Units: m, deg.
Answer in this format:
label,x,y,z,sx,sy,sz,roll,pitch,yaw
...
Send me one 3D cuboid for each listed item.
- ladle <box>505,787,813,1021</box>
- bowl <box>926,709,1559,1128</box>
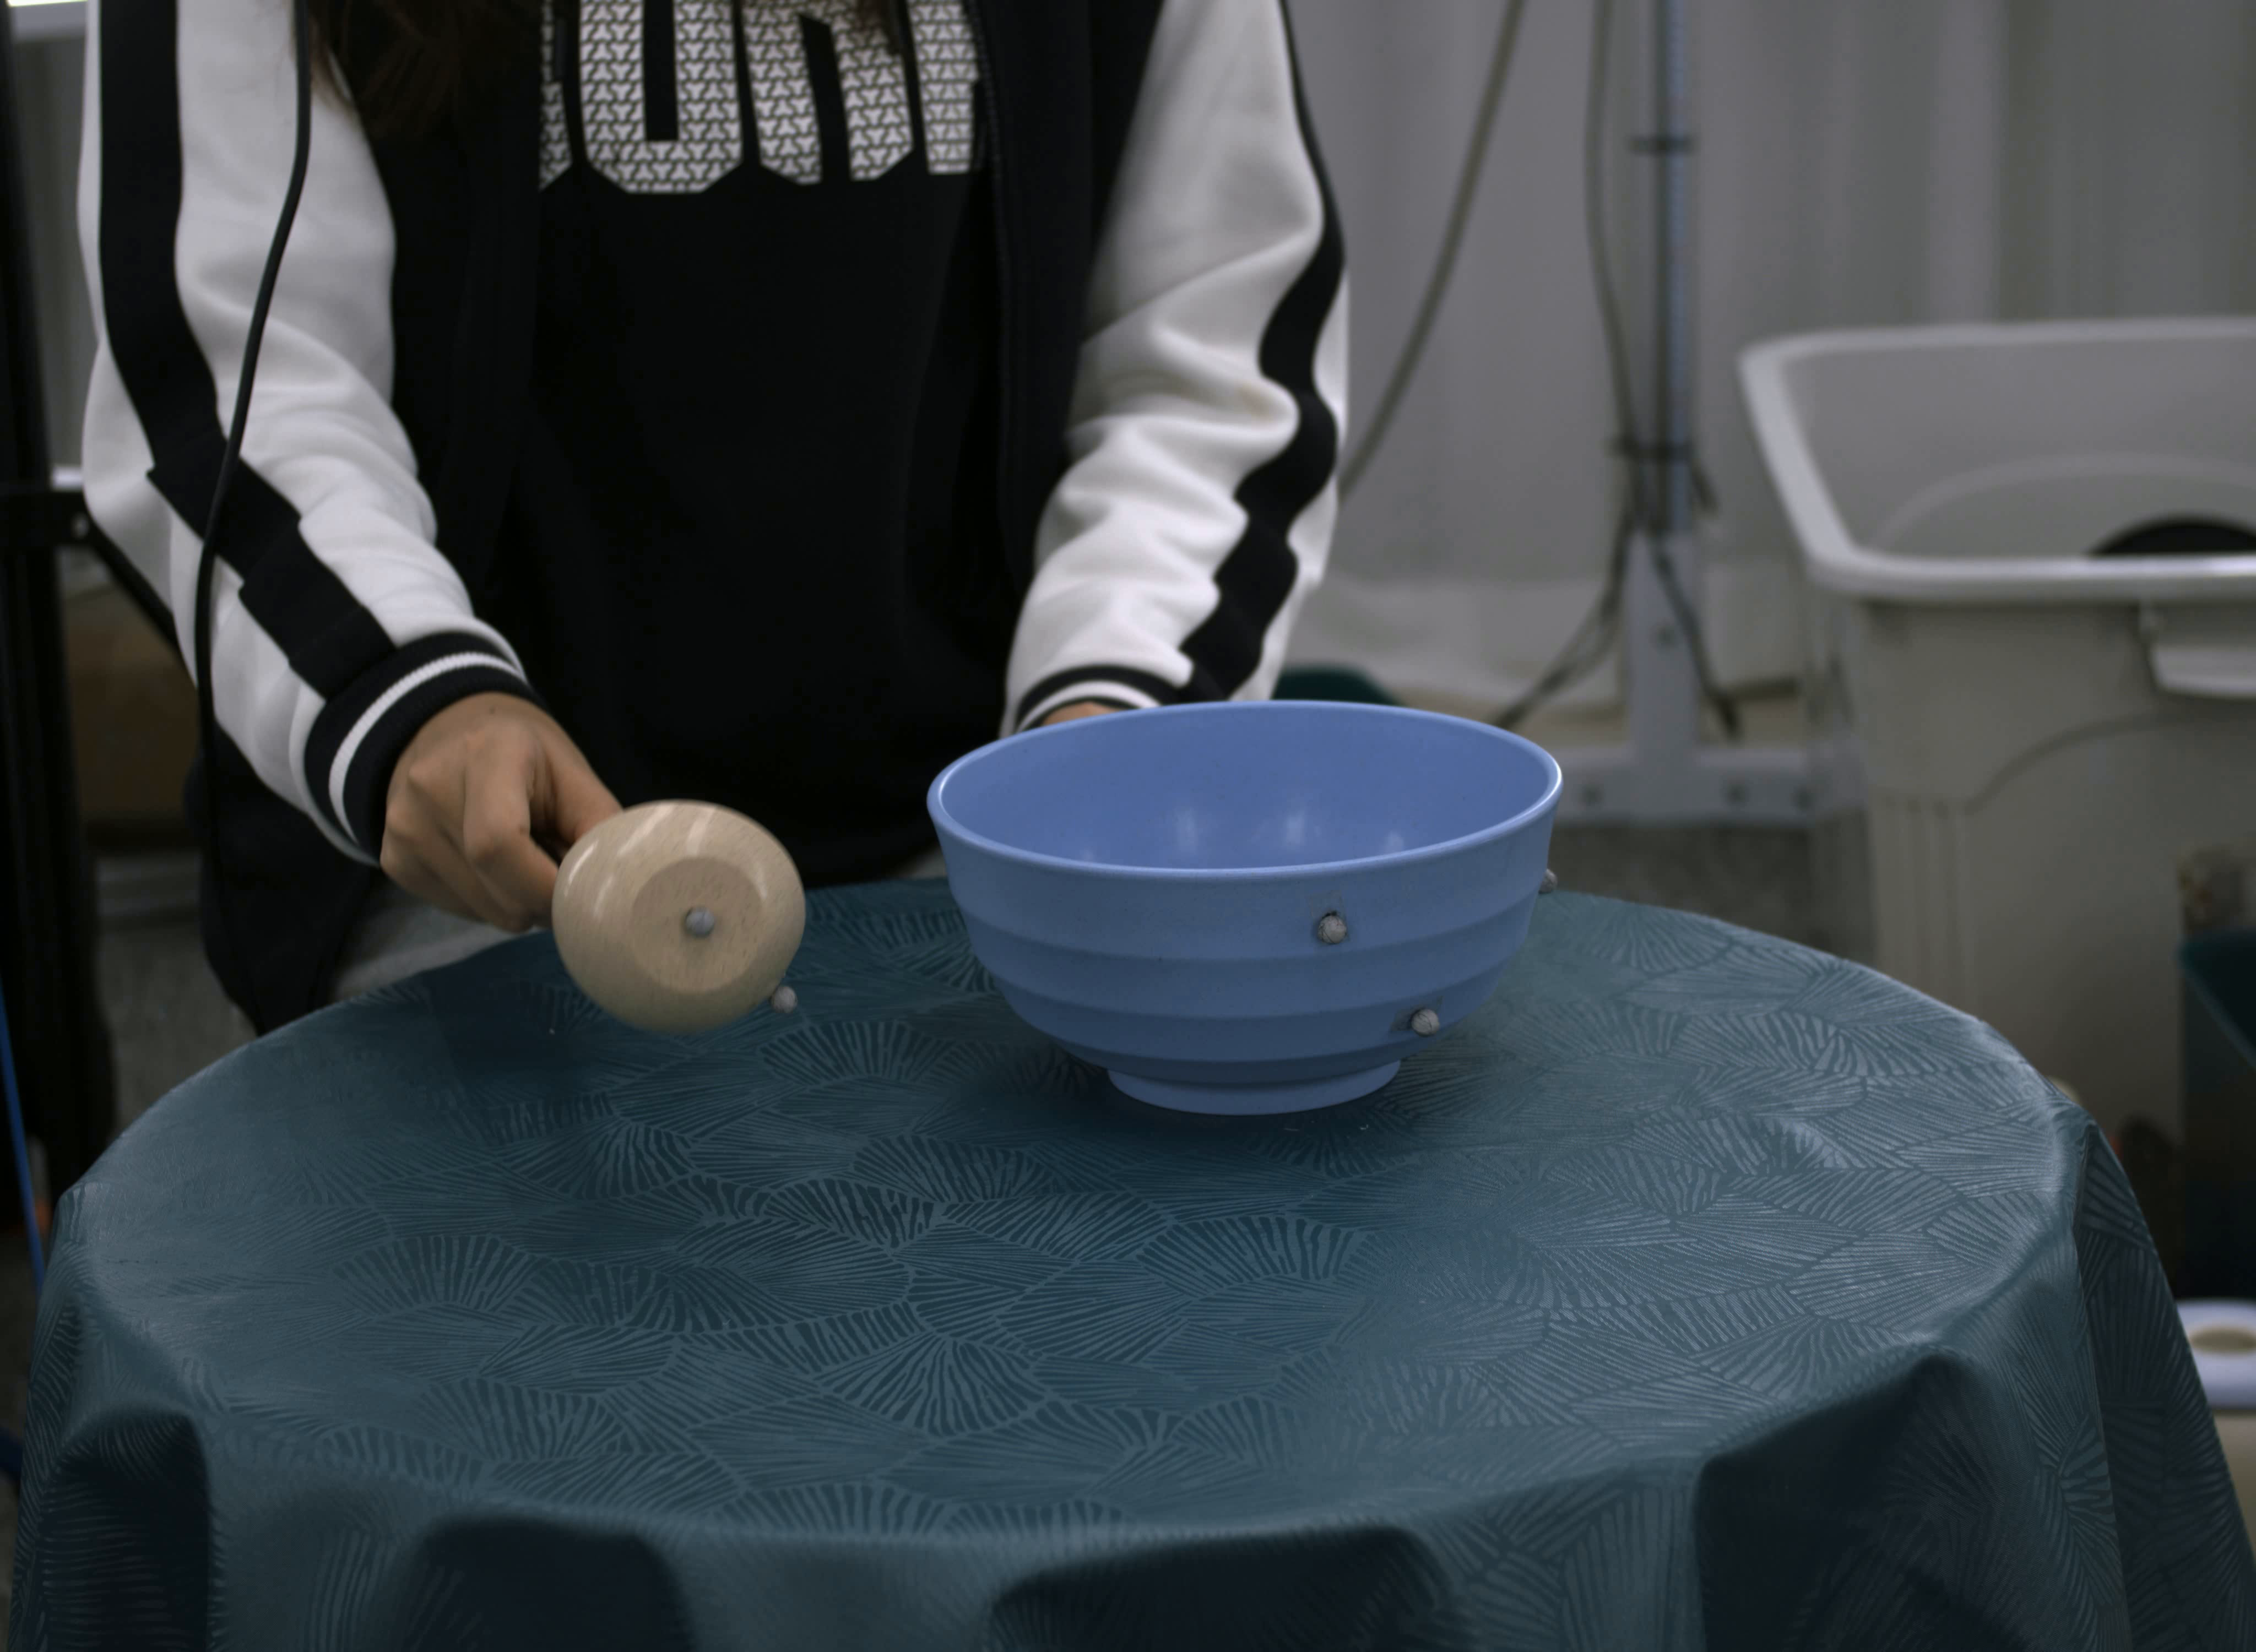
label,x,y,z,sx,sy,sz,roll,pitch,yaw
ladle,-0.149,-0.002,1.633,0.071,0.073,0.257,37,3,-18
bowl,0.038,0.034,1.650,0.195,0.095,0.197,-4,16,0
